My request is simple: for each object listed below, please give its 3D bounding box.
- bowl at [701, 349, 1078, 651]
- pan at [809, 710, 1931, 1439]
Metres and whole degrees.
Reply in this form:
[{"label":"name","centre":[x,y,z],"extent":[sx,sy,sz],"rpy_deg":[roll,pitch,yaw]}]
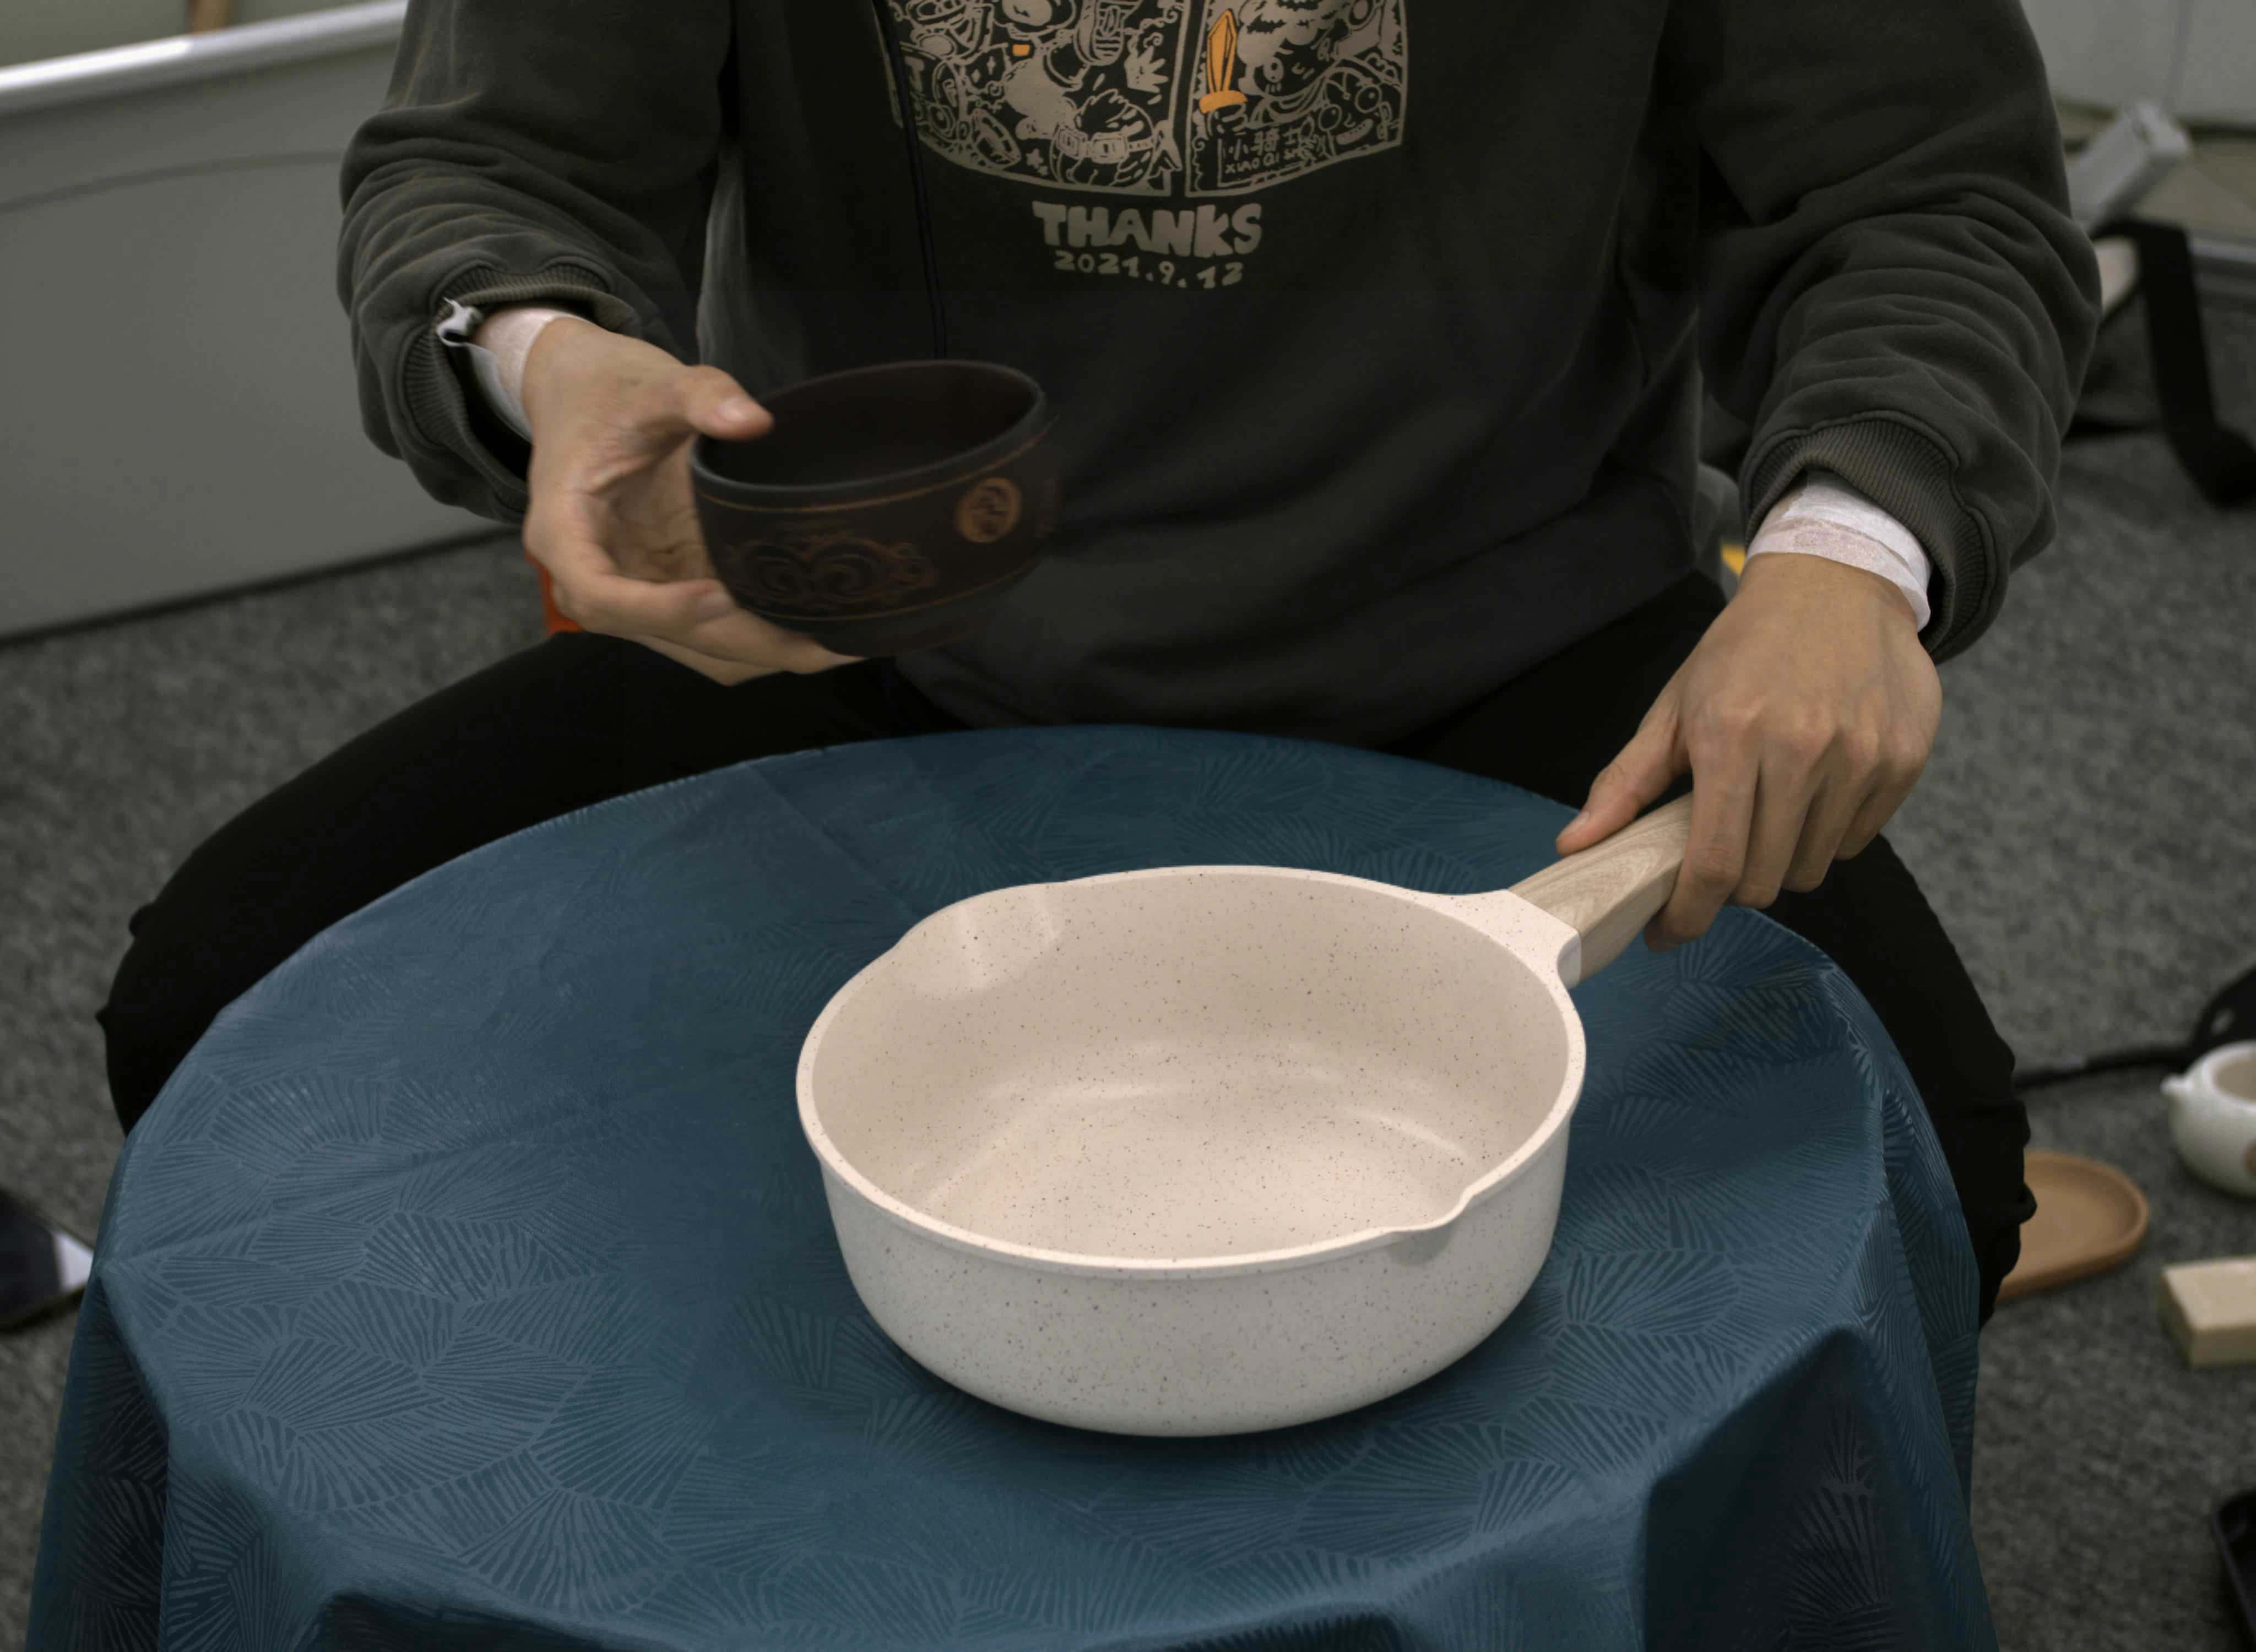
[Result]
[{"label":"bowl","centre":[-0.071,-0.097,1.770],"extent":[0.117,0.069,0.119],"rpy_deg":[-10,22,4]},{"label":"pan","centre":[0.100,0.074,1.837],"extent":[0.438,0.101,0.263],"rpy_deg":[-21,30,-31]}]
